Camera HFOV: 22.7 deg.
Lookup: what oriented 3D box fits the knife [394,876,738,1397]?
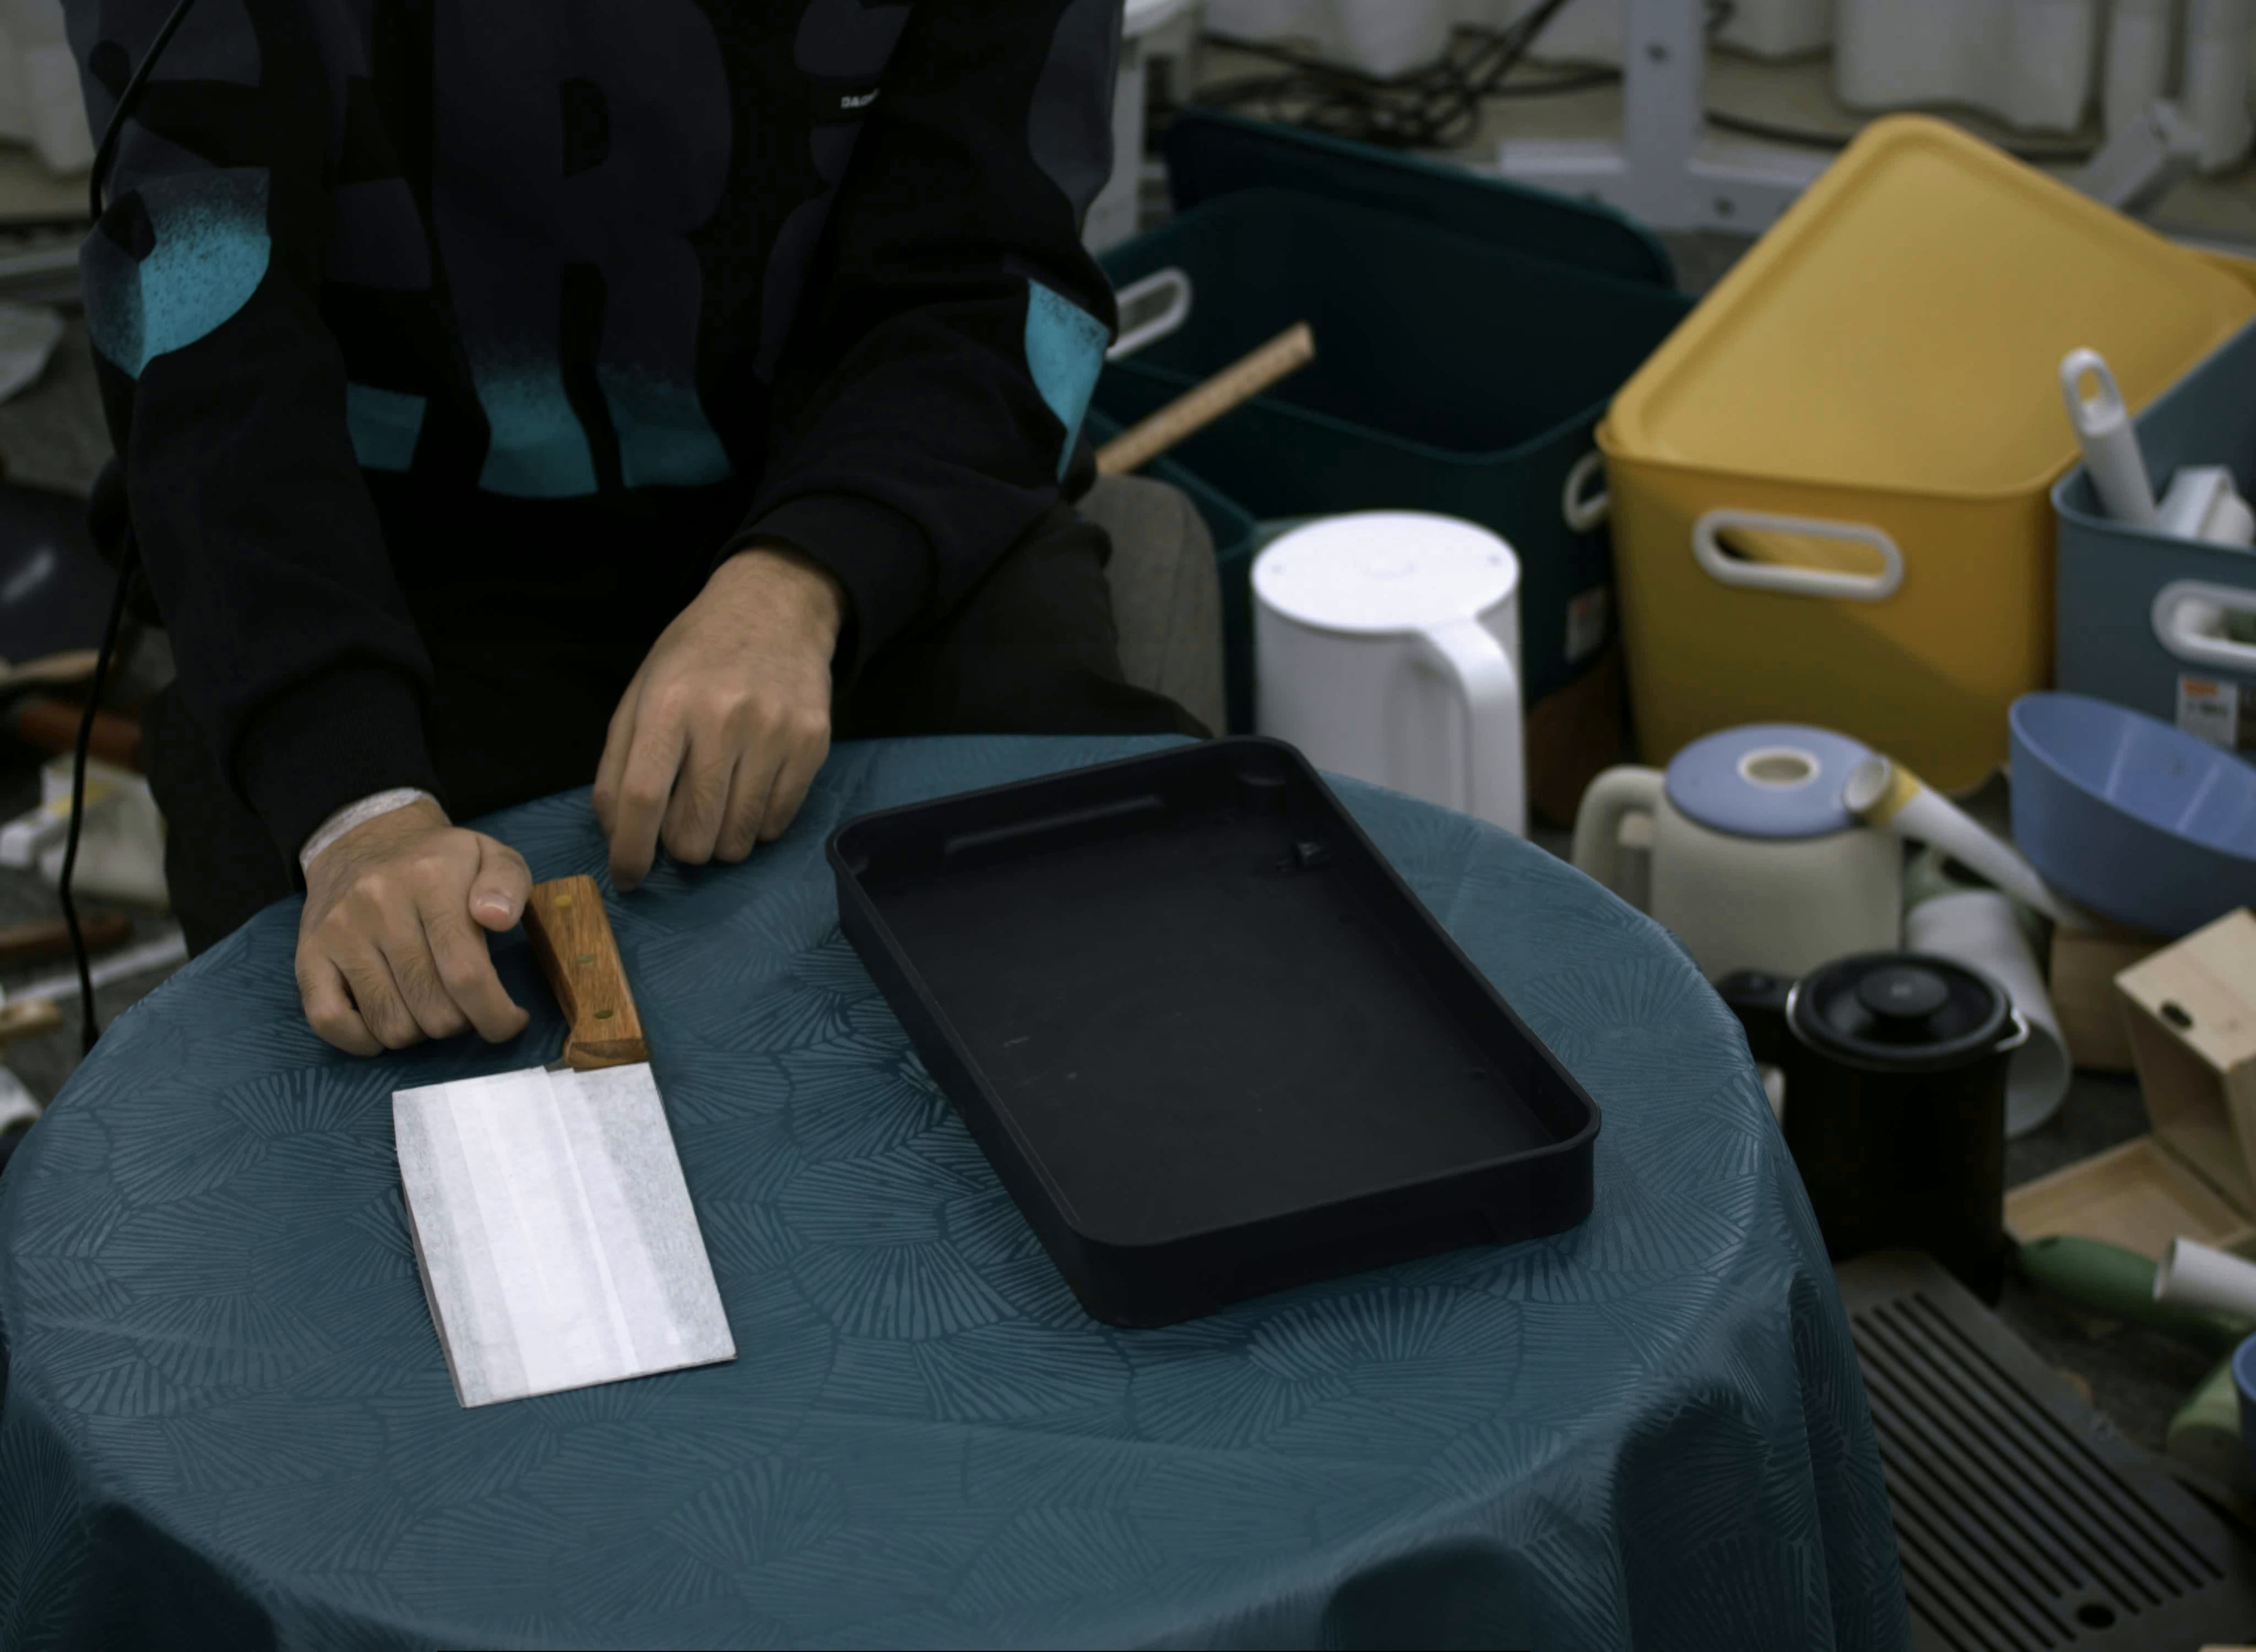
[{"bbox_3d":[-0.200,0.103,1.902,0.093,0.021,0.309,-10,30,-10],"label":"knife"}]

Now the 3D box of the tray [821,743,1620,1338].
[{"bbox_3d":[0.026,0.067,1.926,0.185,0.036,0.320,-13,29,-17],"label":"tray"}]
